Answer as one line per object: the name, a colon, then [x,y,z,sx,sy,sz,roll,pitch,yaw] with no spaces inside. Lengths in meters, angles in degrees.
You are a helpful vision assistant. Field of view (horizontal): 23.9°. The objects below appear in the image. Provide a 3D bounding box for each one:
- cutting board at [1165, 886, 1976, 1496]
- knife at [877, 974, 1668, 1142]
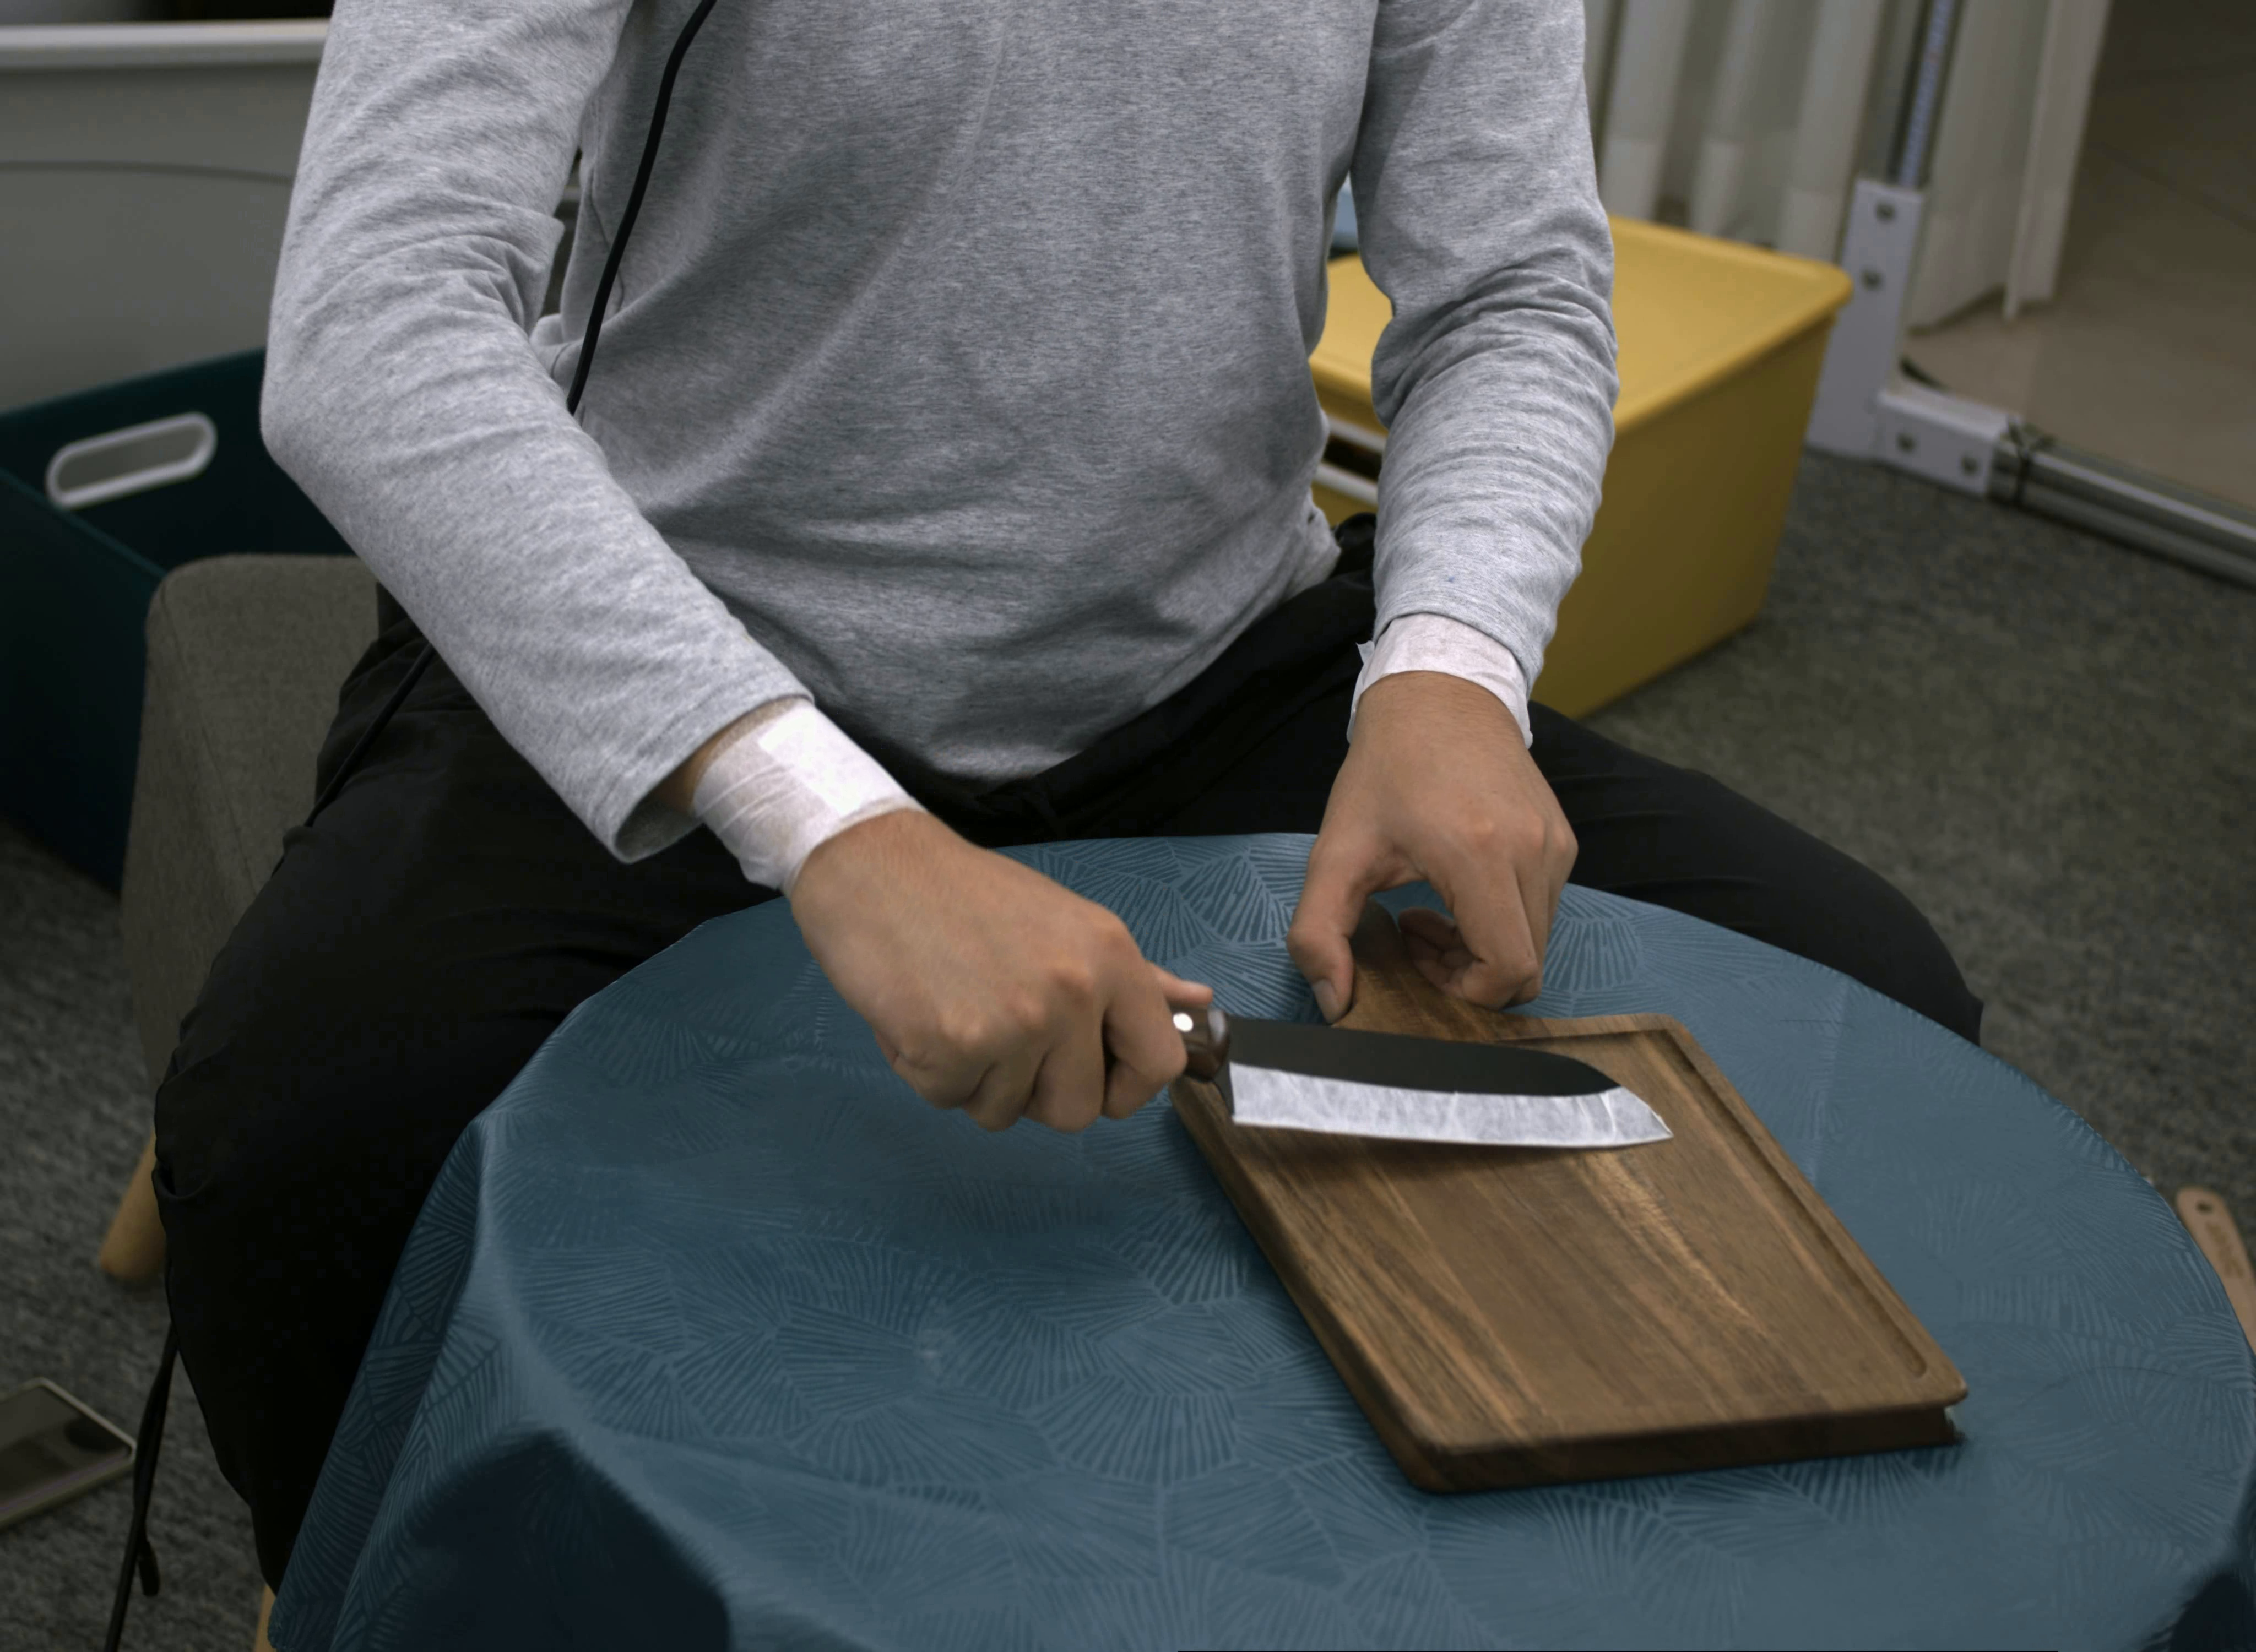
cutting board: [0.128,0.114,1.826,0.200,0.023,0.355,-3,29,-19]
knife: [0.053,0.081,1.801,0.287,0.020,0.050,9,52,-18]
